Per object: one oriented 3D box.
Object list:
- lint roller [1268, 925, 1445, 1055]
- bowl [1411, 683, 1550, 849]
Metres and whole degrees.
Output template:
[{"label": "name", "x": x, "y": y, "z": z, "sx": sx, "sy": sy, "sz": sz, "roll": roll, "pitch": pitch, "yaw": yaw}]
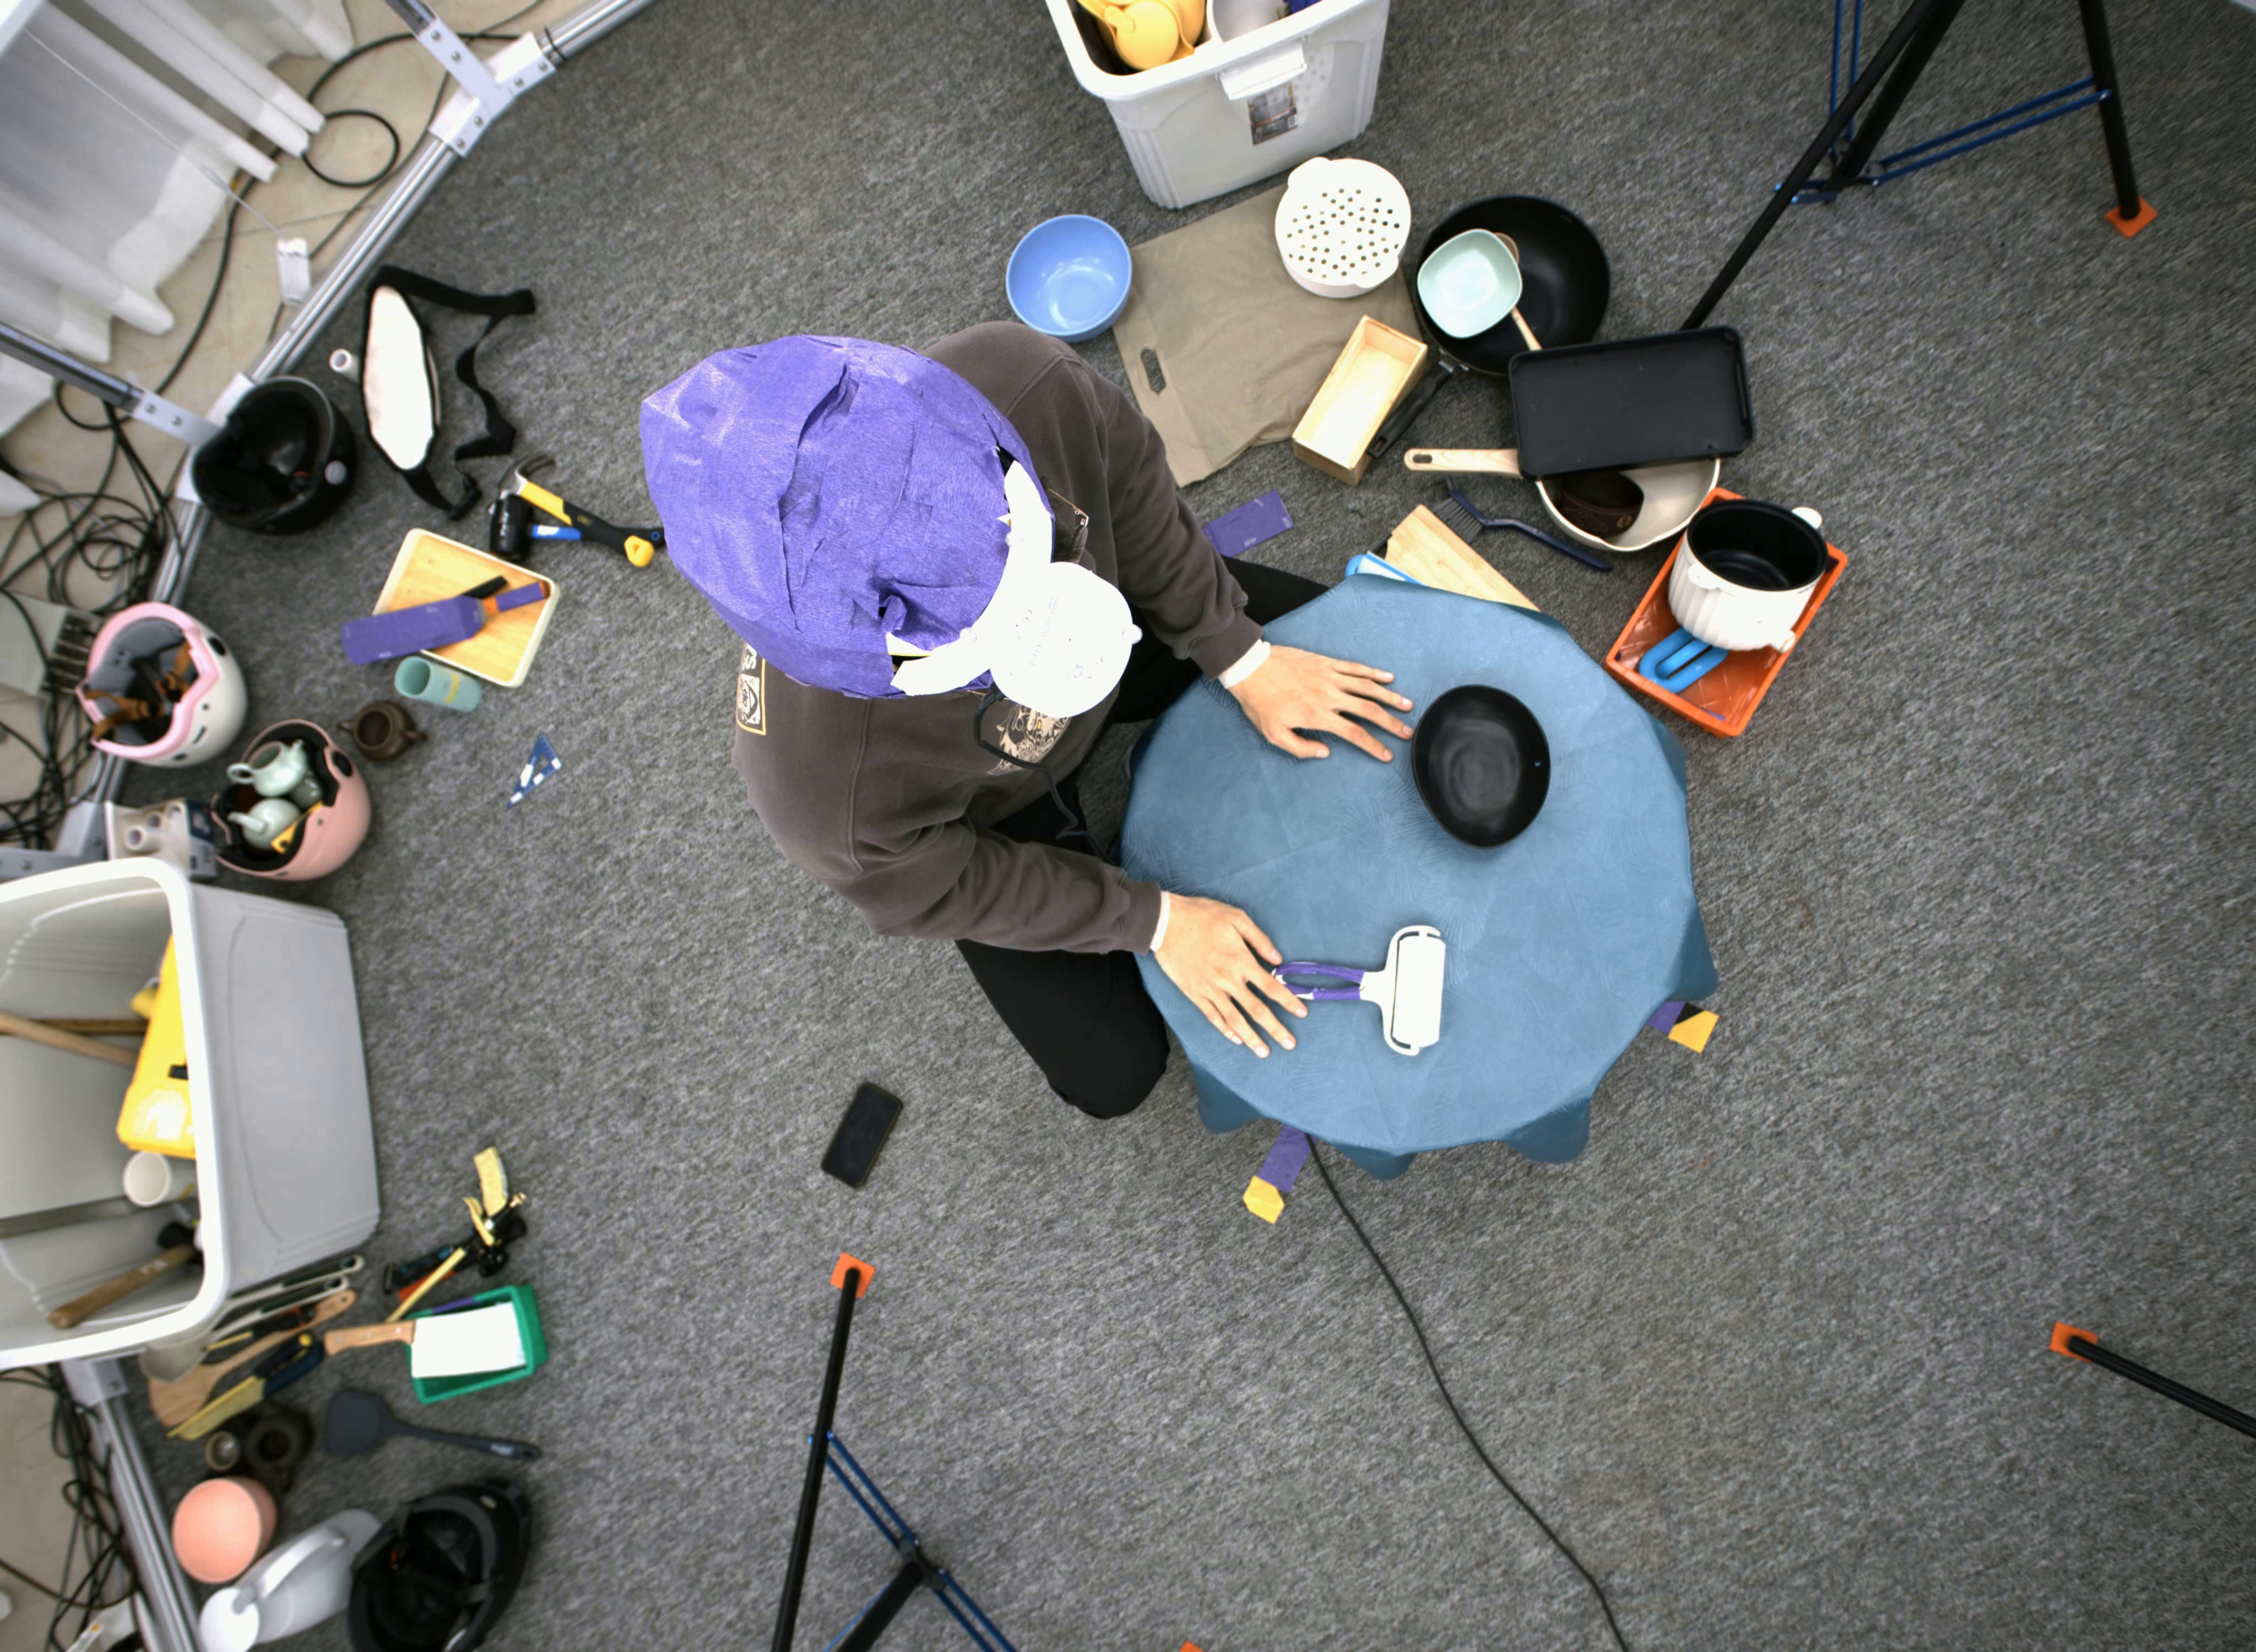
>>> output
[{"label": "lint roller", "x": 0.235, "y": 0.161, "z": 1.435, "sx": 0.181, "sy": 0.050, "sz": 0.132, "roll": 6, "pitch": 88, "yaw": 8}, {"label": "bowl", "x": 0.362, "y": -0.063, "z": 1.415, "sx": 0.138, "sy": 0.066, "sz": 0.169, "roll": -11, "pitch": 87, "yaw": 11}]
